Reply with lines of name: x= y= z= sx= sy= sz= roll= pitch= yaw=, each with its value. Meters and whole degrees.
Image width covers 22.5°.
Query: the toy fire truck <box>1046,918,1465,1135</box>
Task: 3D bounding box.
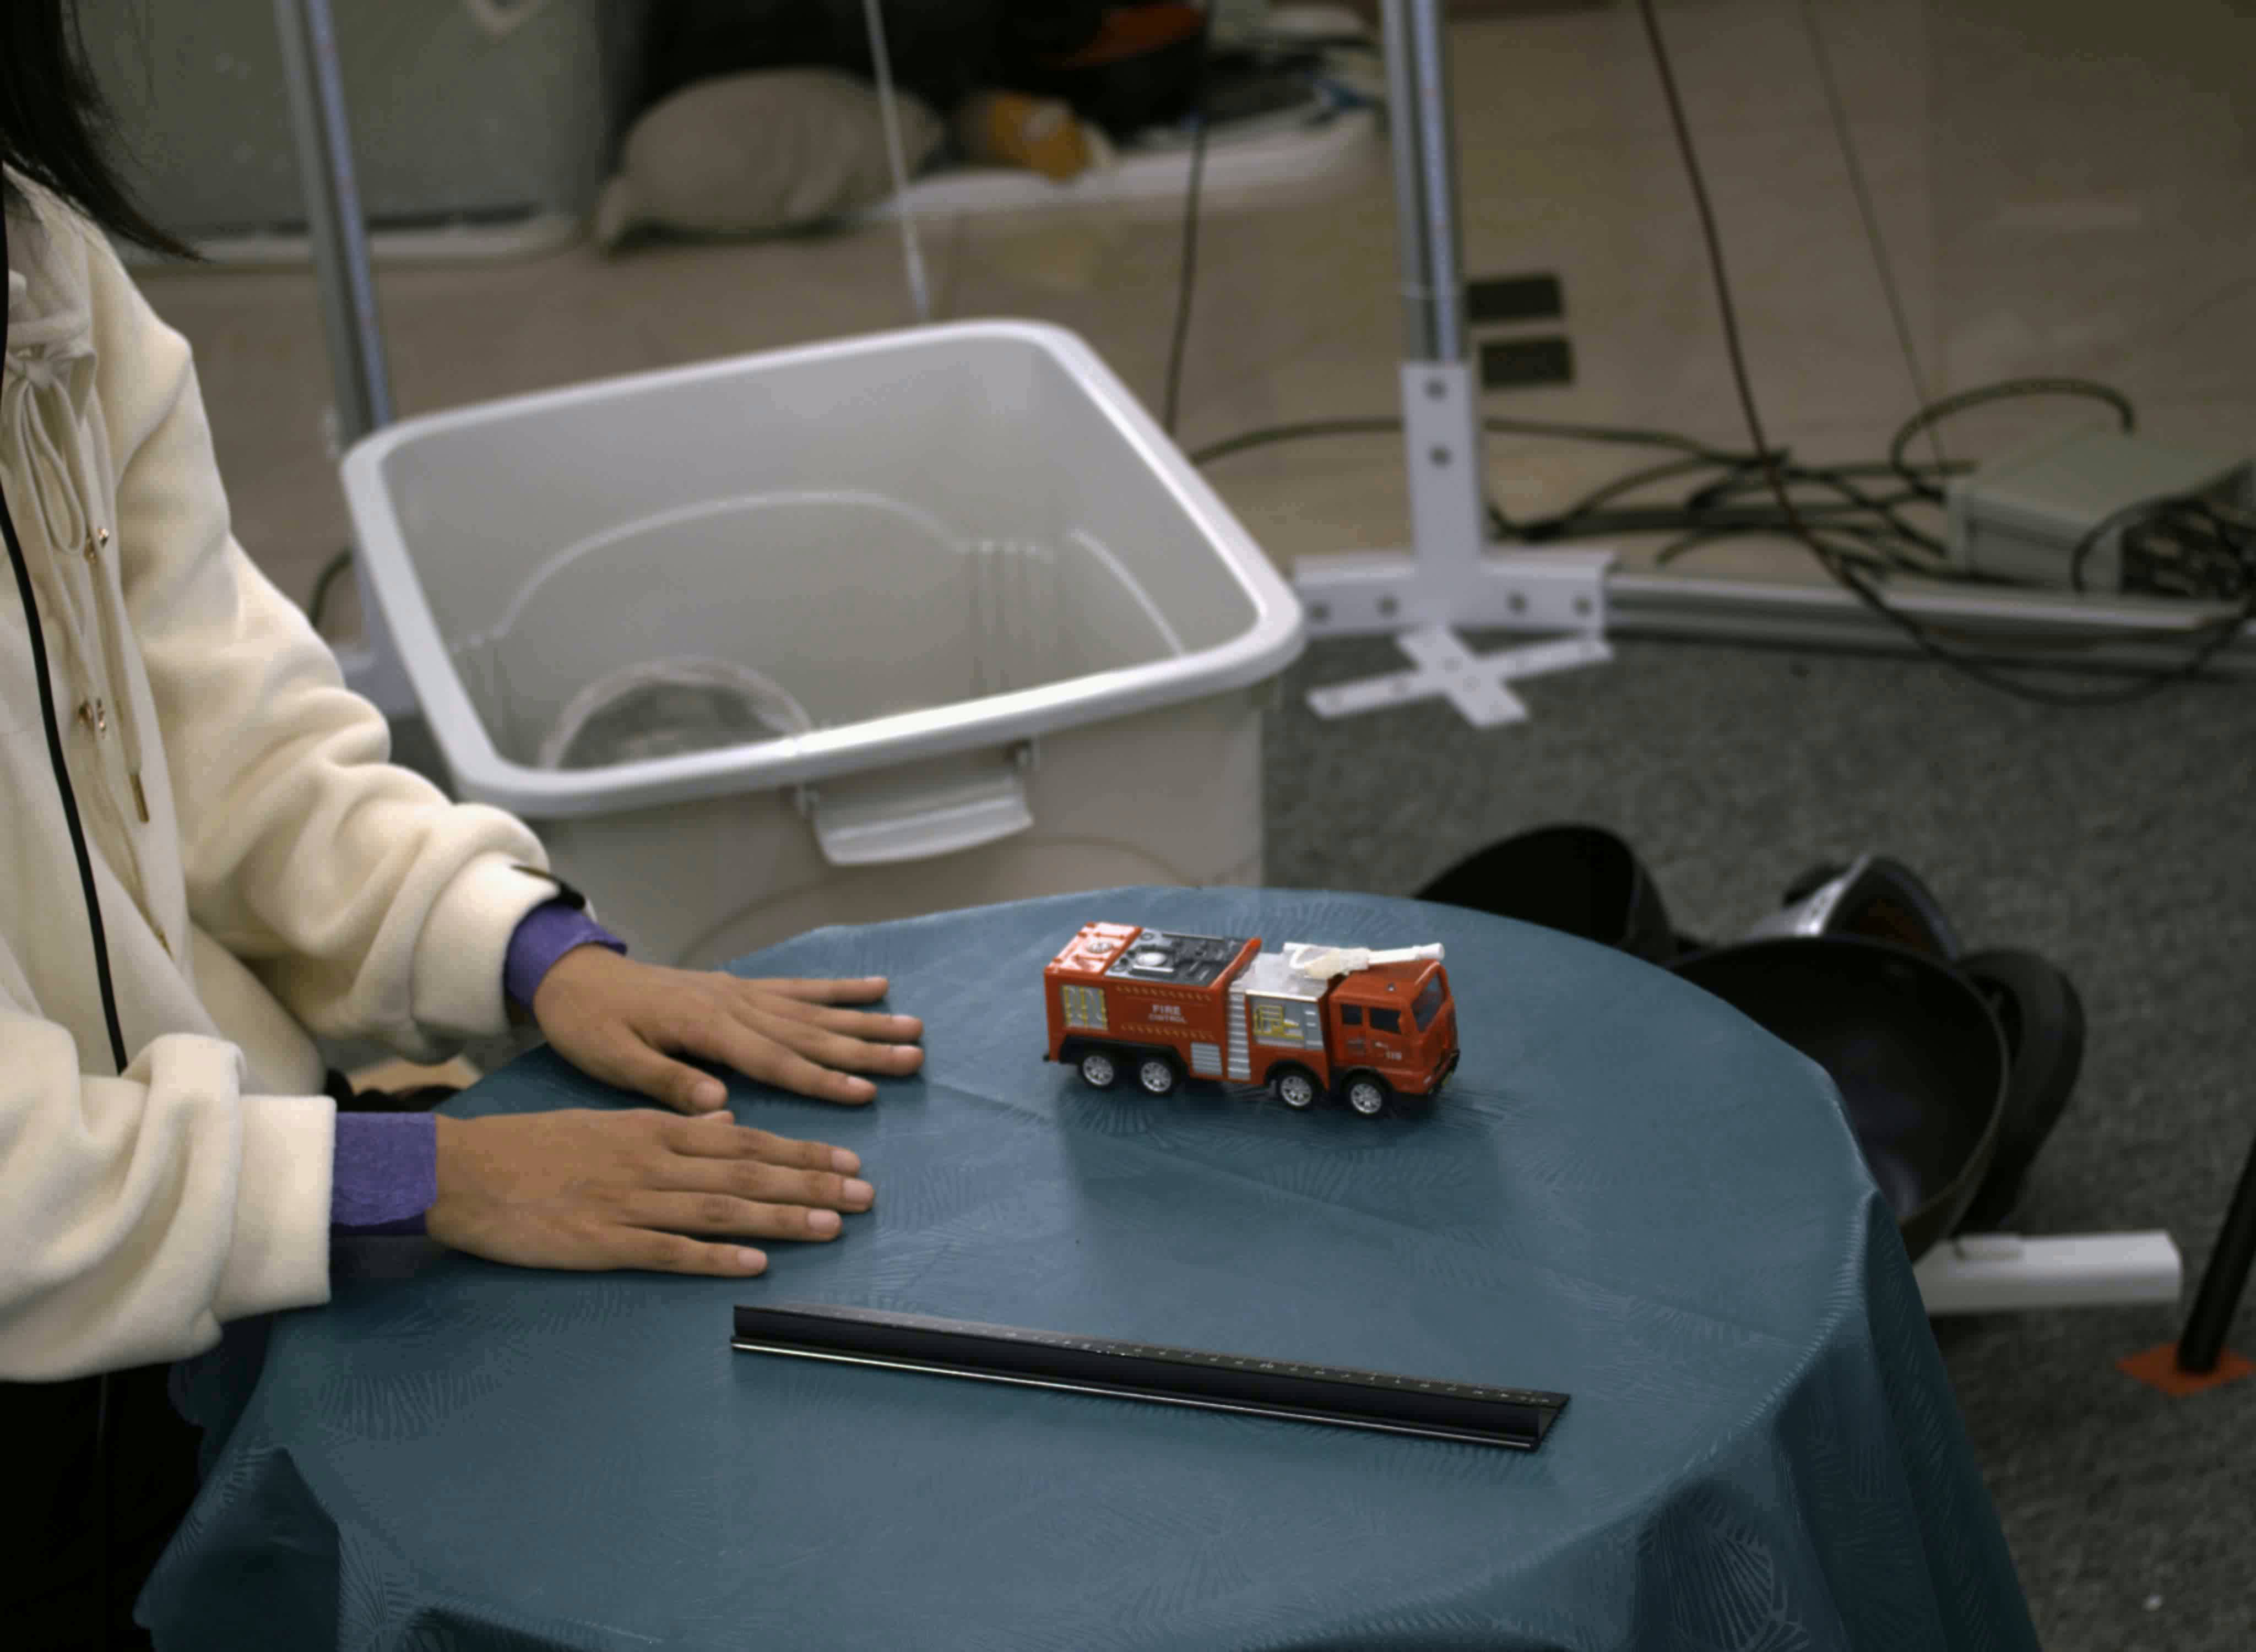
toy fire truck: x=0.049 y=0.074 z=2.206 sx=0.167 sy=0.071 sz=0.053 roll=4 pitch=28 yaw=24

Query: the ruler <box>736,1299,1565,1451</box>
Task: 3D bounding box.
ruler: x=0.004 y=0.188 z=2.022 sx=0.311 sy=0.017 sz=0.039 roll=5 pitch=24 yaw=24
